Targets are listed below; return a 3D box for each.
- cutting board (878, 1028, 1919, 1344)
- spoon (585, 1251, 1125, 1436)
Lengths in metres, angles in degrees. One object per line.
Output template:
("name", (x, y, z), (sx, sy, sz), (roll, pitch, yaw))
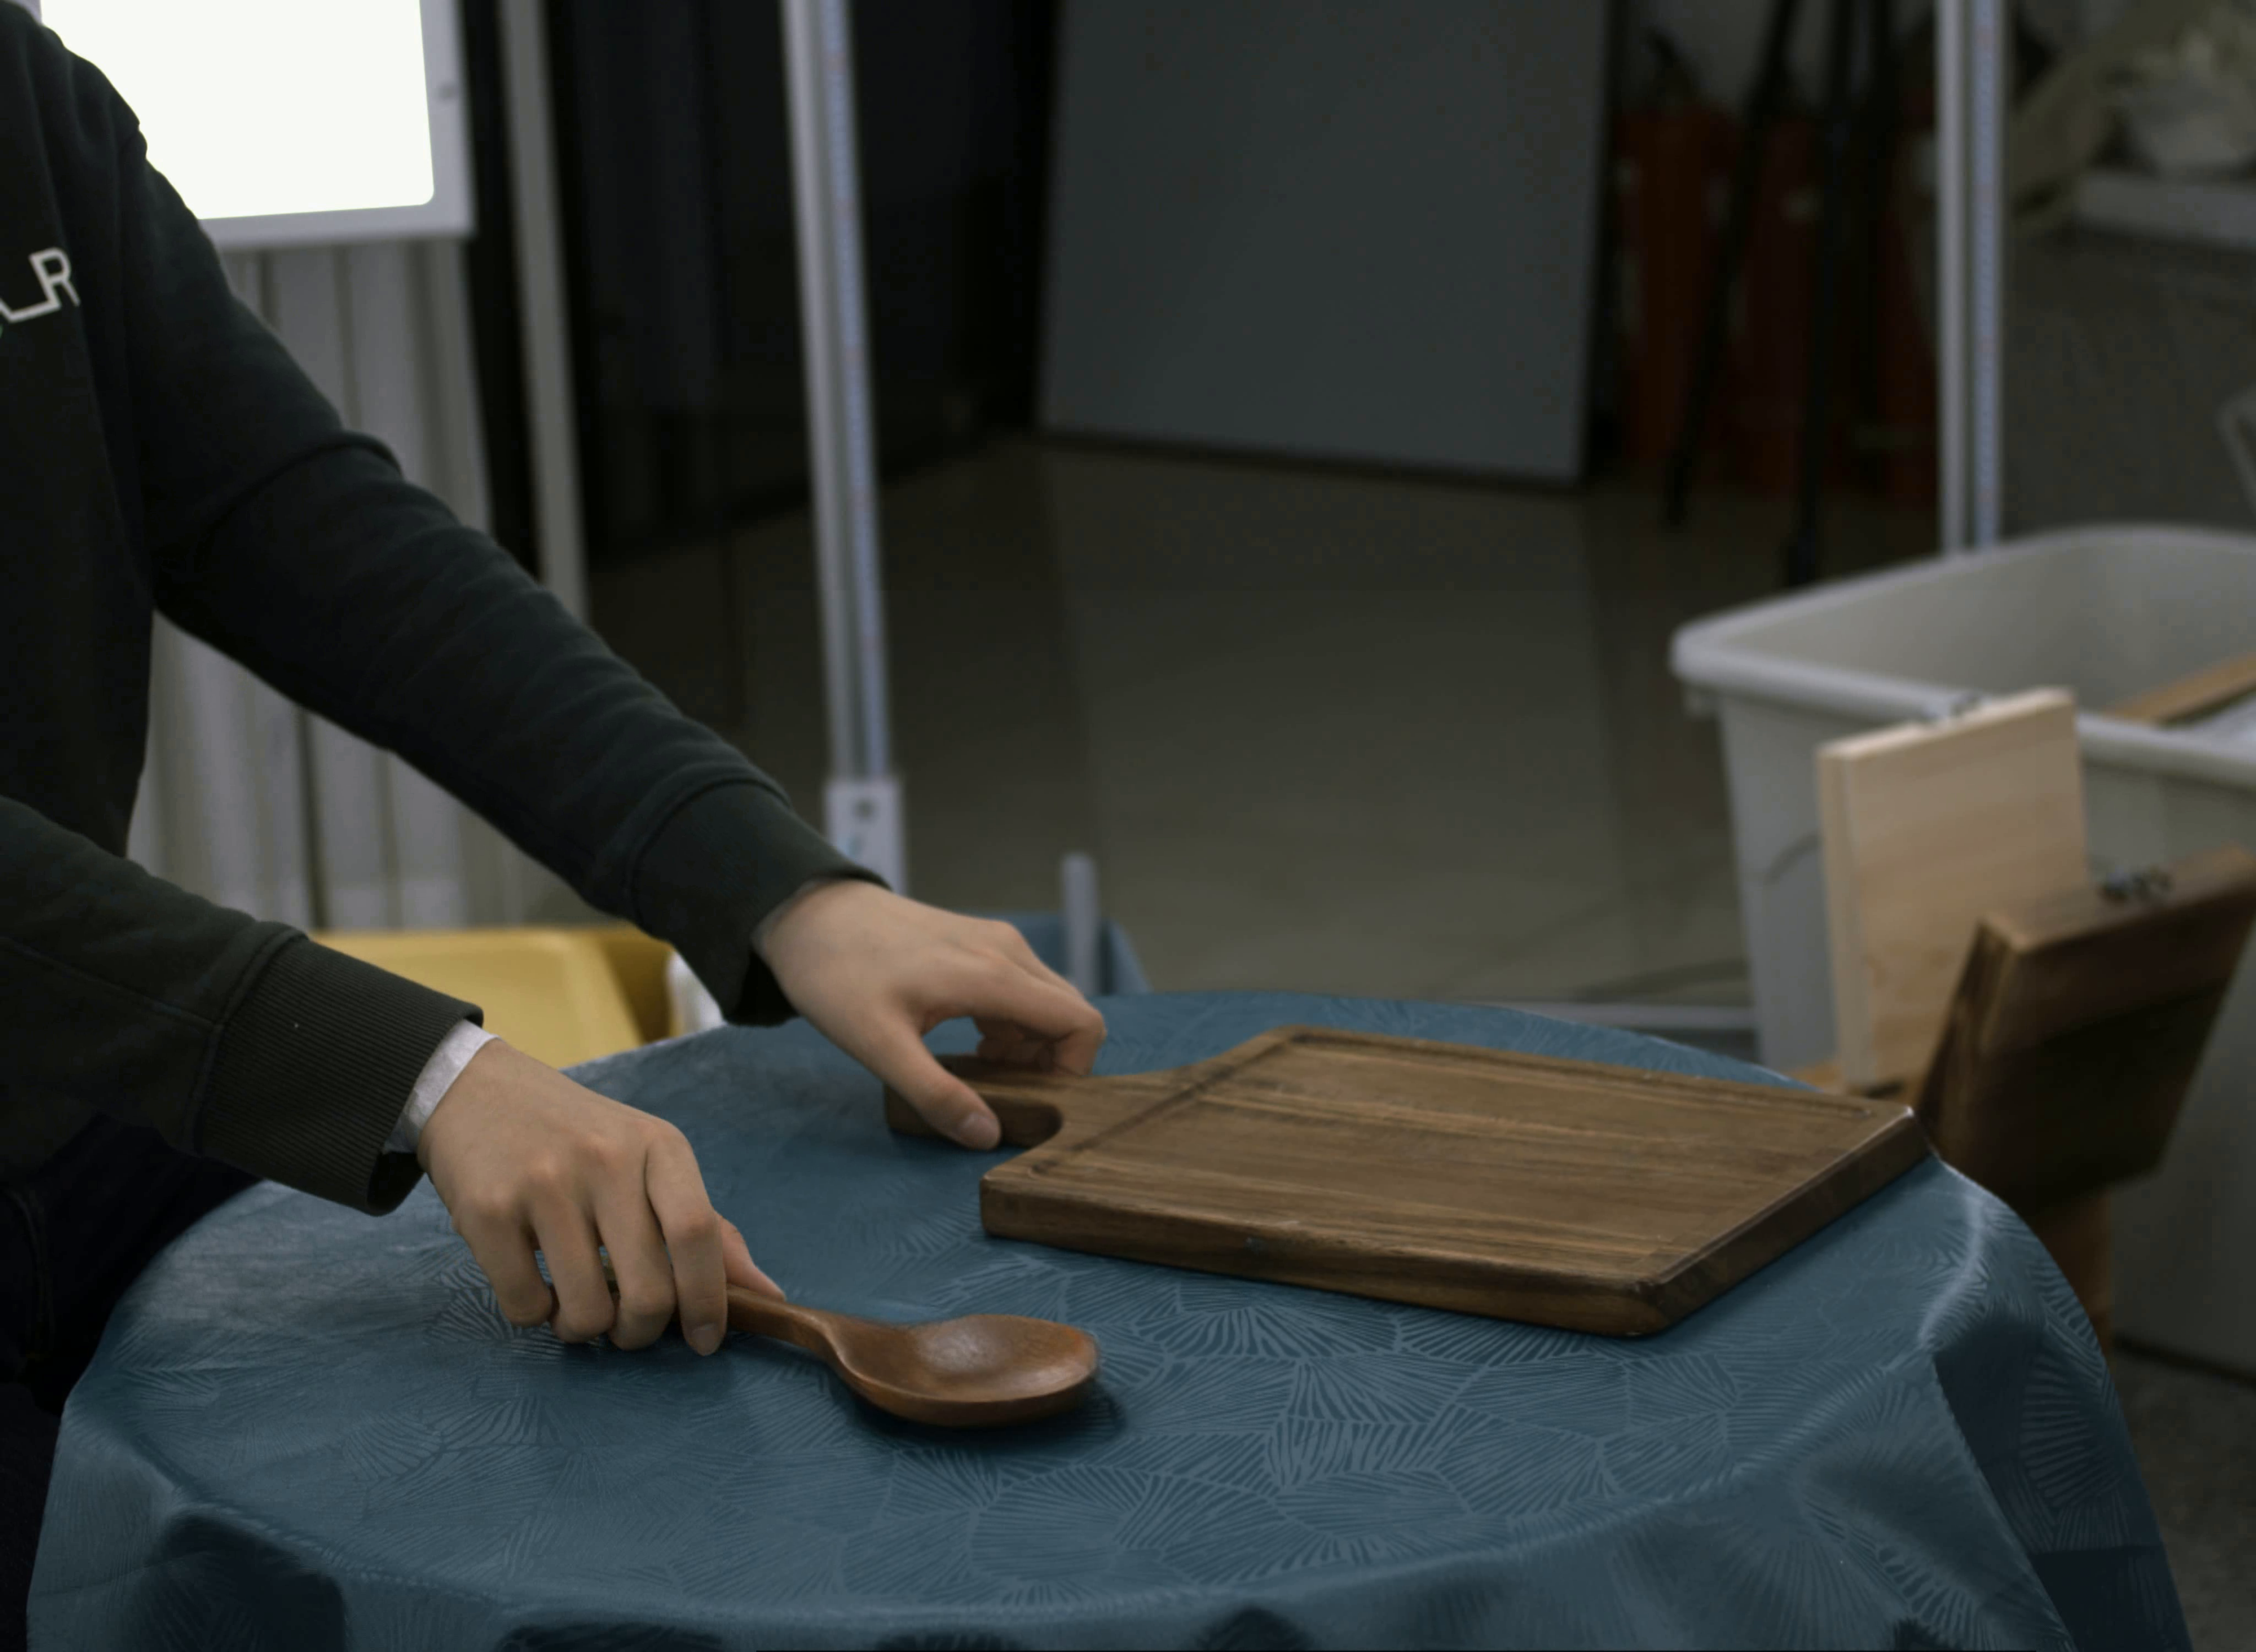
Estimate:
("cutting board", (0.064, 0.108, 1.767), (0.354, 0.023, 0.197), (5, 17, 34))
("spoon", (-0.087, 0.155, 1.625), (0.218, 0.017, 0.074), (10, 21, 43))
